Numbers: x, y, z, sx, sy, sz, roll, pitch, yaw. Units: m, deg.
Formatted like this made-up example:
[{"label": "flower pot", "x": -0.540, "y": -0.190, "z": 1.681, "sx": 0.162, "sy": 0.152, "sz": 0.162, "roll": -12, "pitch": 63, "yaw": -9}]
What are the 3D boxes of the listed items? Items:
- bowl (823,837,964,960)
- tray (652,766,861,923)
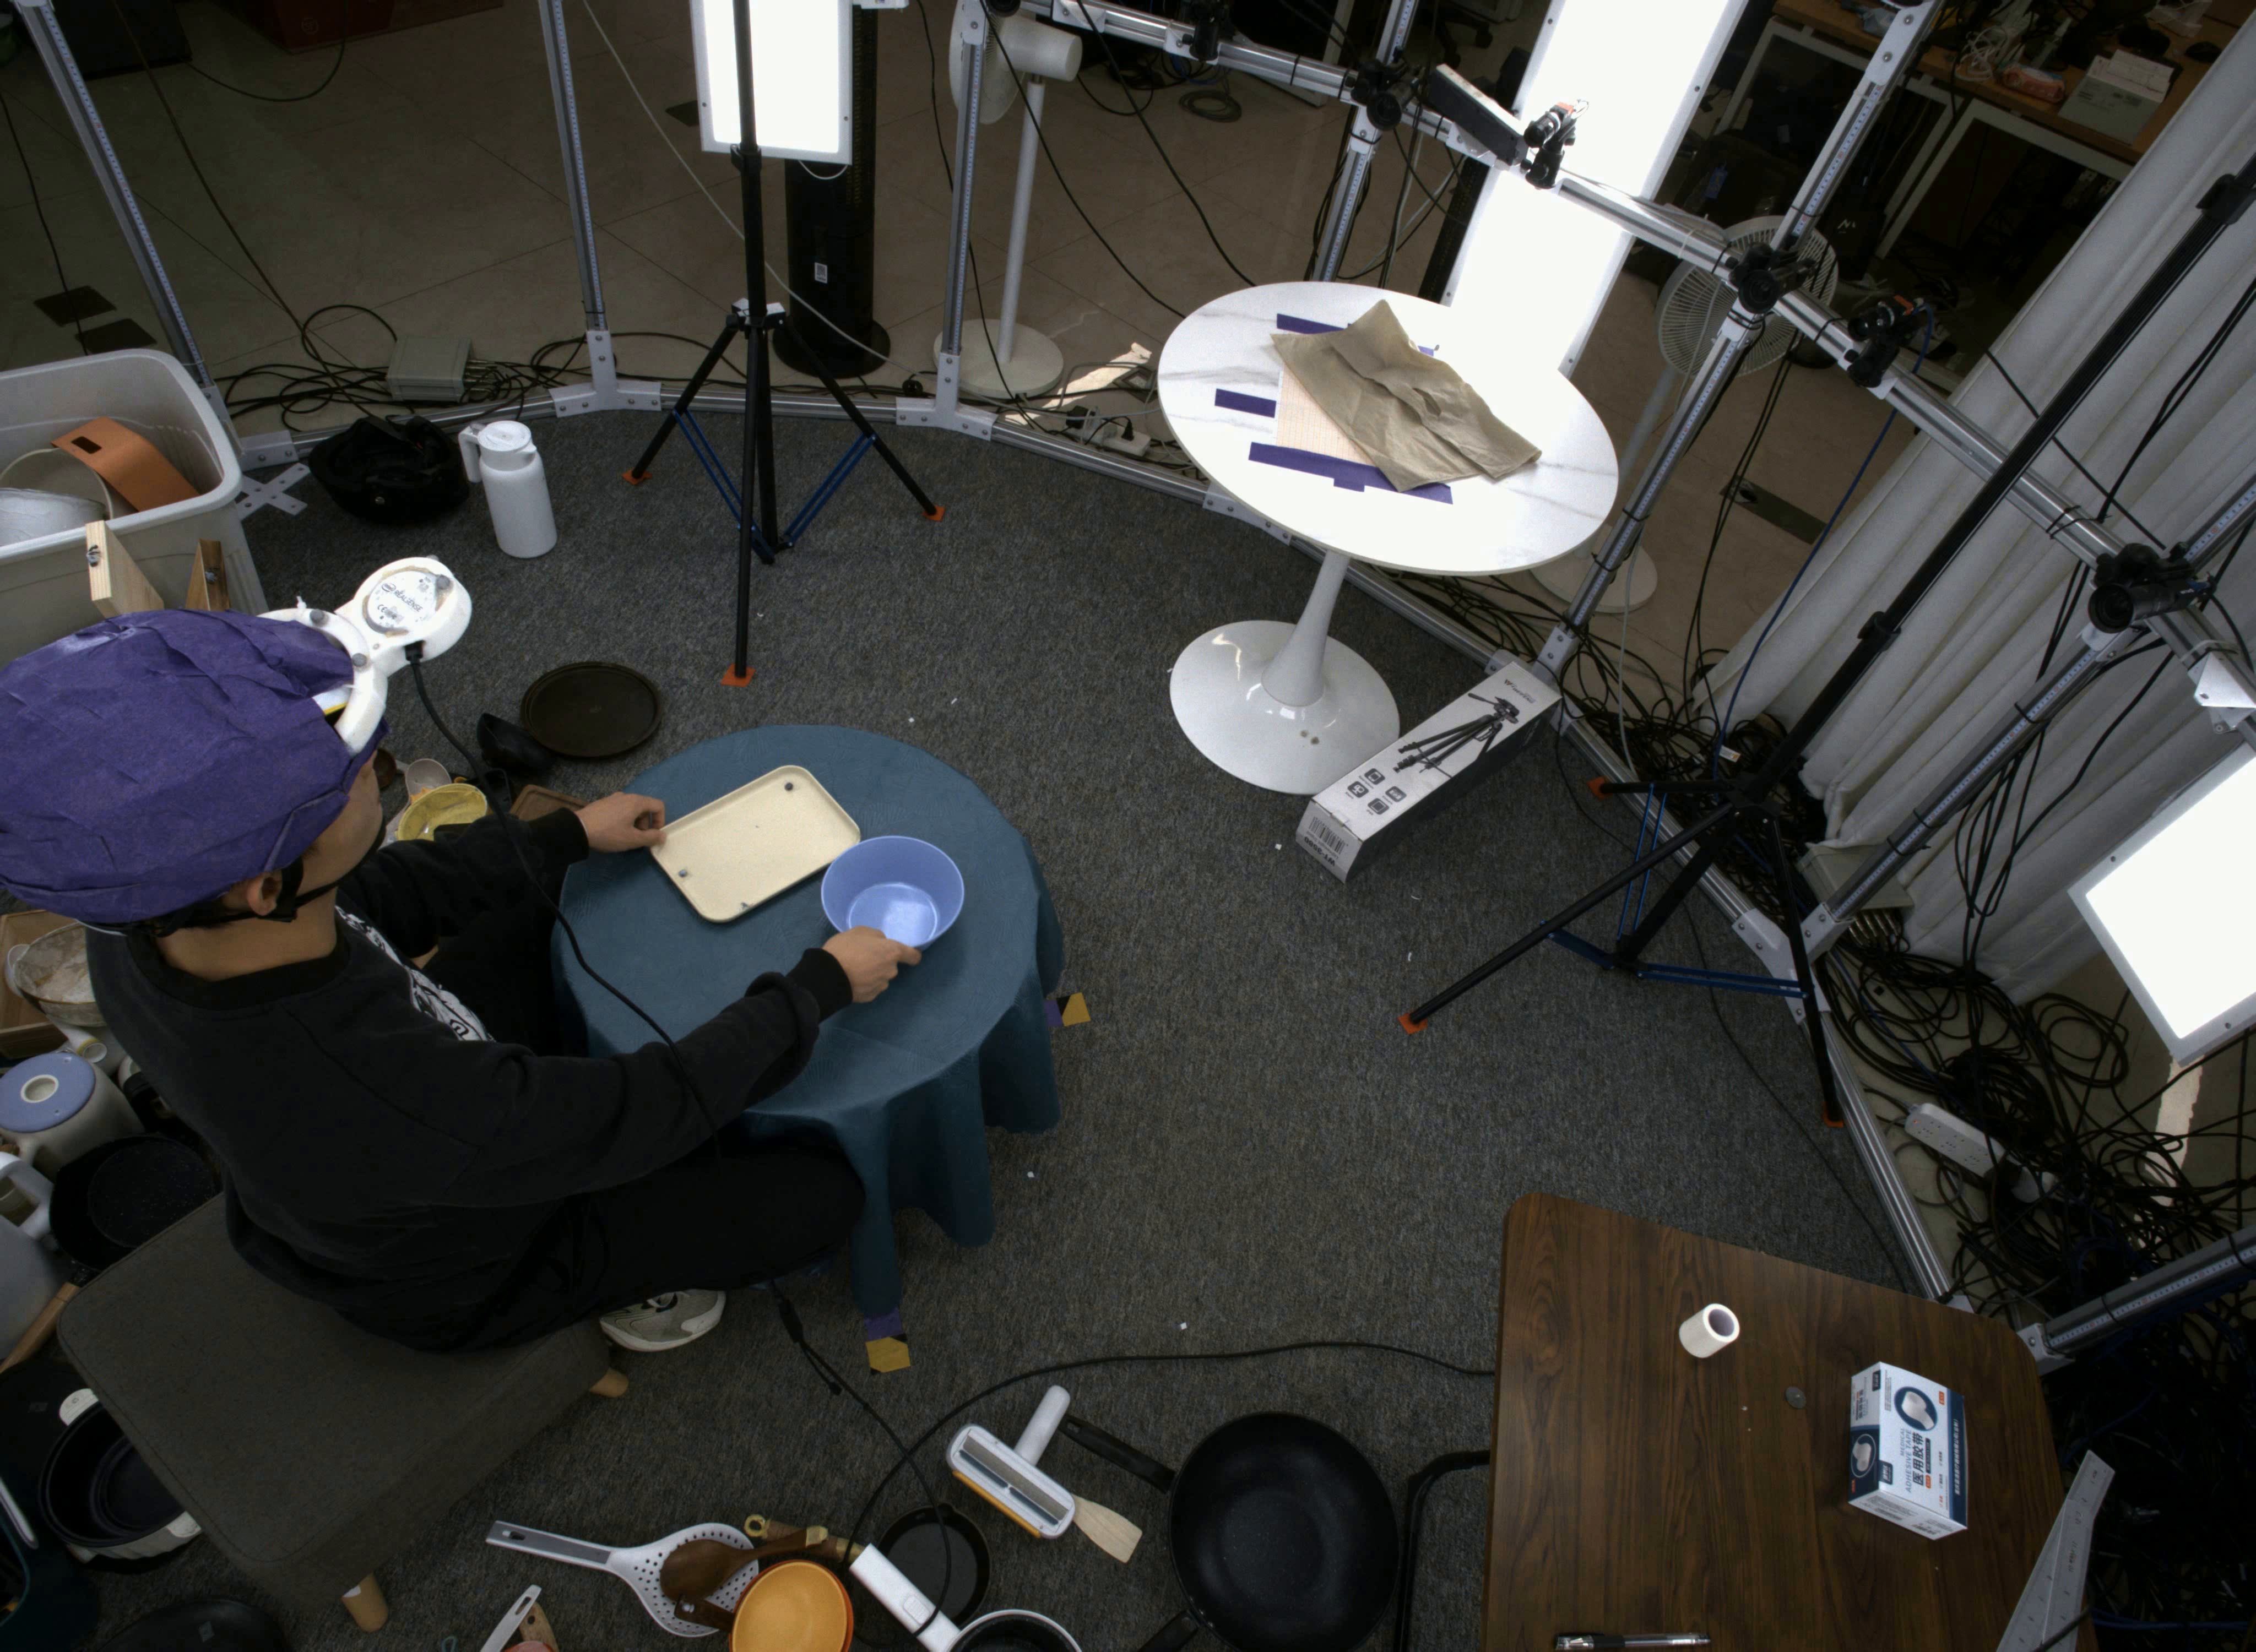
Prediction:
[{"label": "bowl", "x": -0.294, "y": 0.101, "z": 1.639, "sx": 0.175, "sy": 0.072, "sz": 0.173, "roll": 7, "pitch": 50, "yaw": -6}, {"label": "tray", "x": -0.483, "y": 0.021, "z": 1.687, "sx": 0.240, "sy": 0.018, "sz": 0.167, "roll": -33, "pitch": 67, "yaw": -32}]
